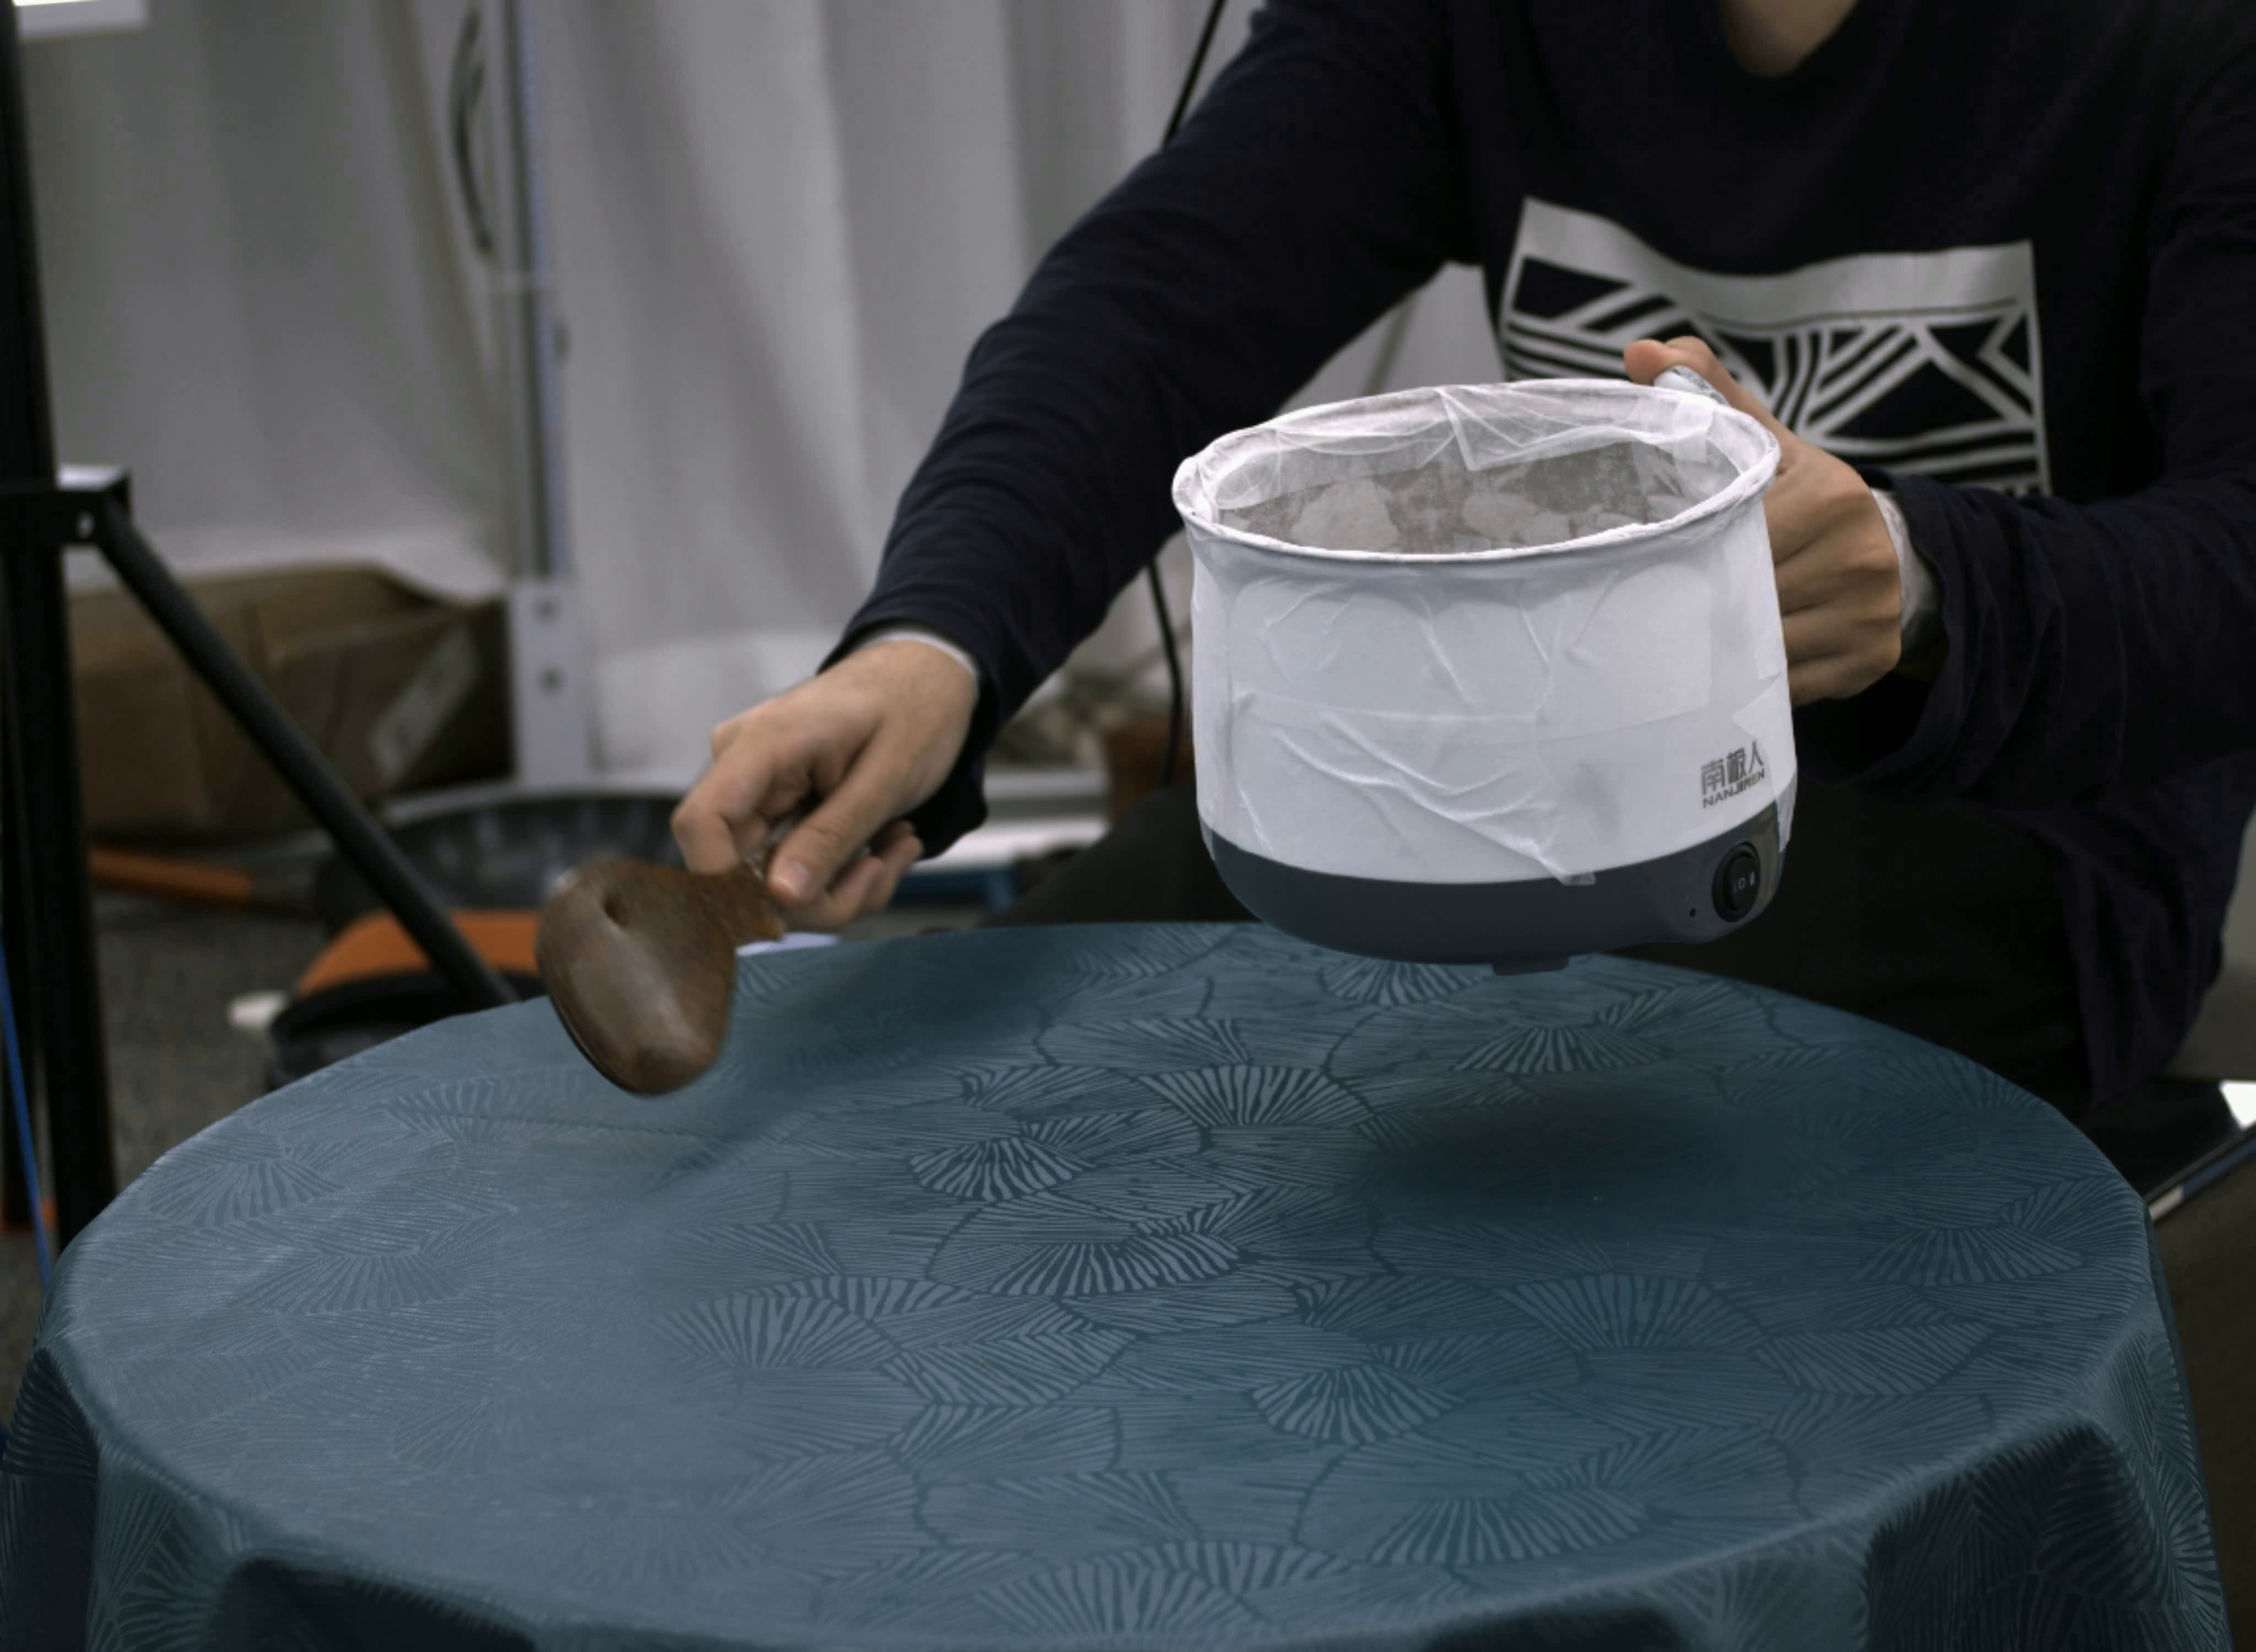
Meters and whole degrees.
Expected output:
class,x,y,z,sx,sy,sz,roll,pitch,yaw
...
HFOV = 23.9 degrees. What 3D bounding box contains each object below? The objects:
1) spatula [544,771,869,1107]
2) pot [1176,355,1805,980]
class,x,y,z,sx,sy,sz,roll,pitch,yaw
spatula,-0.123,0.028,1.672,0.009,0.072,0.213,-29,7,28
pot,0.123,-0.054,1.574,0.182,0.136,0.229,14,28,38
